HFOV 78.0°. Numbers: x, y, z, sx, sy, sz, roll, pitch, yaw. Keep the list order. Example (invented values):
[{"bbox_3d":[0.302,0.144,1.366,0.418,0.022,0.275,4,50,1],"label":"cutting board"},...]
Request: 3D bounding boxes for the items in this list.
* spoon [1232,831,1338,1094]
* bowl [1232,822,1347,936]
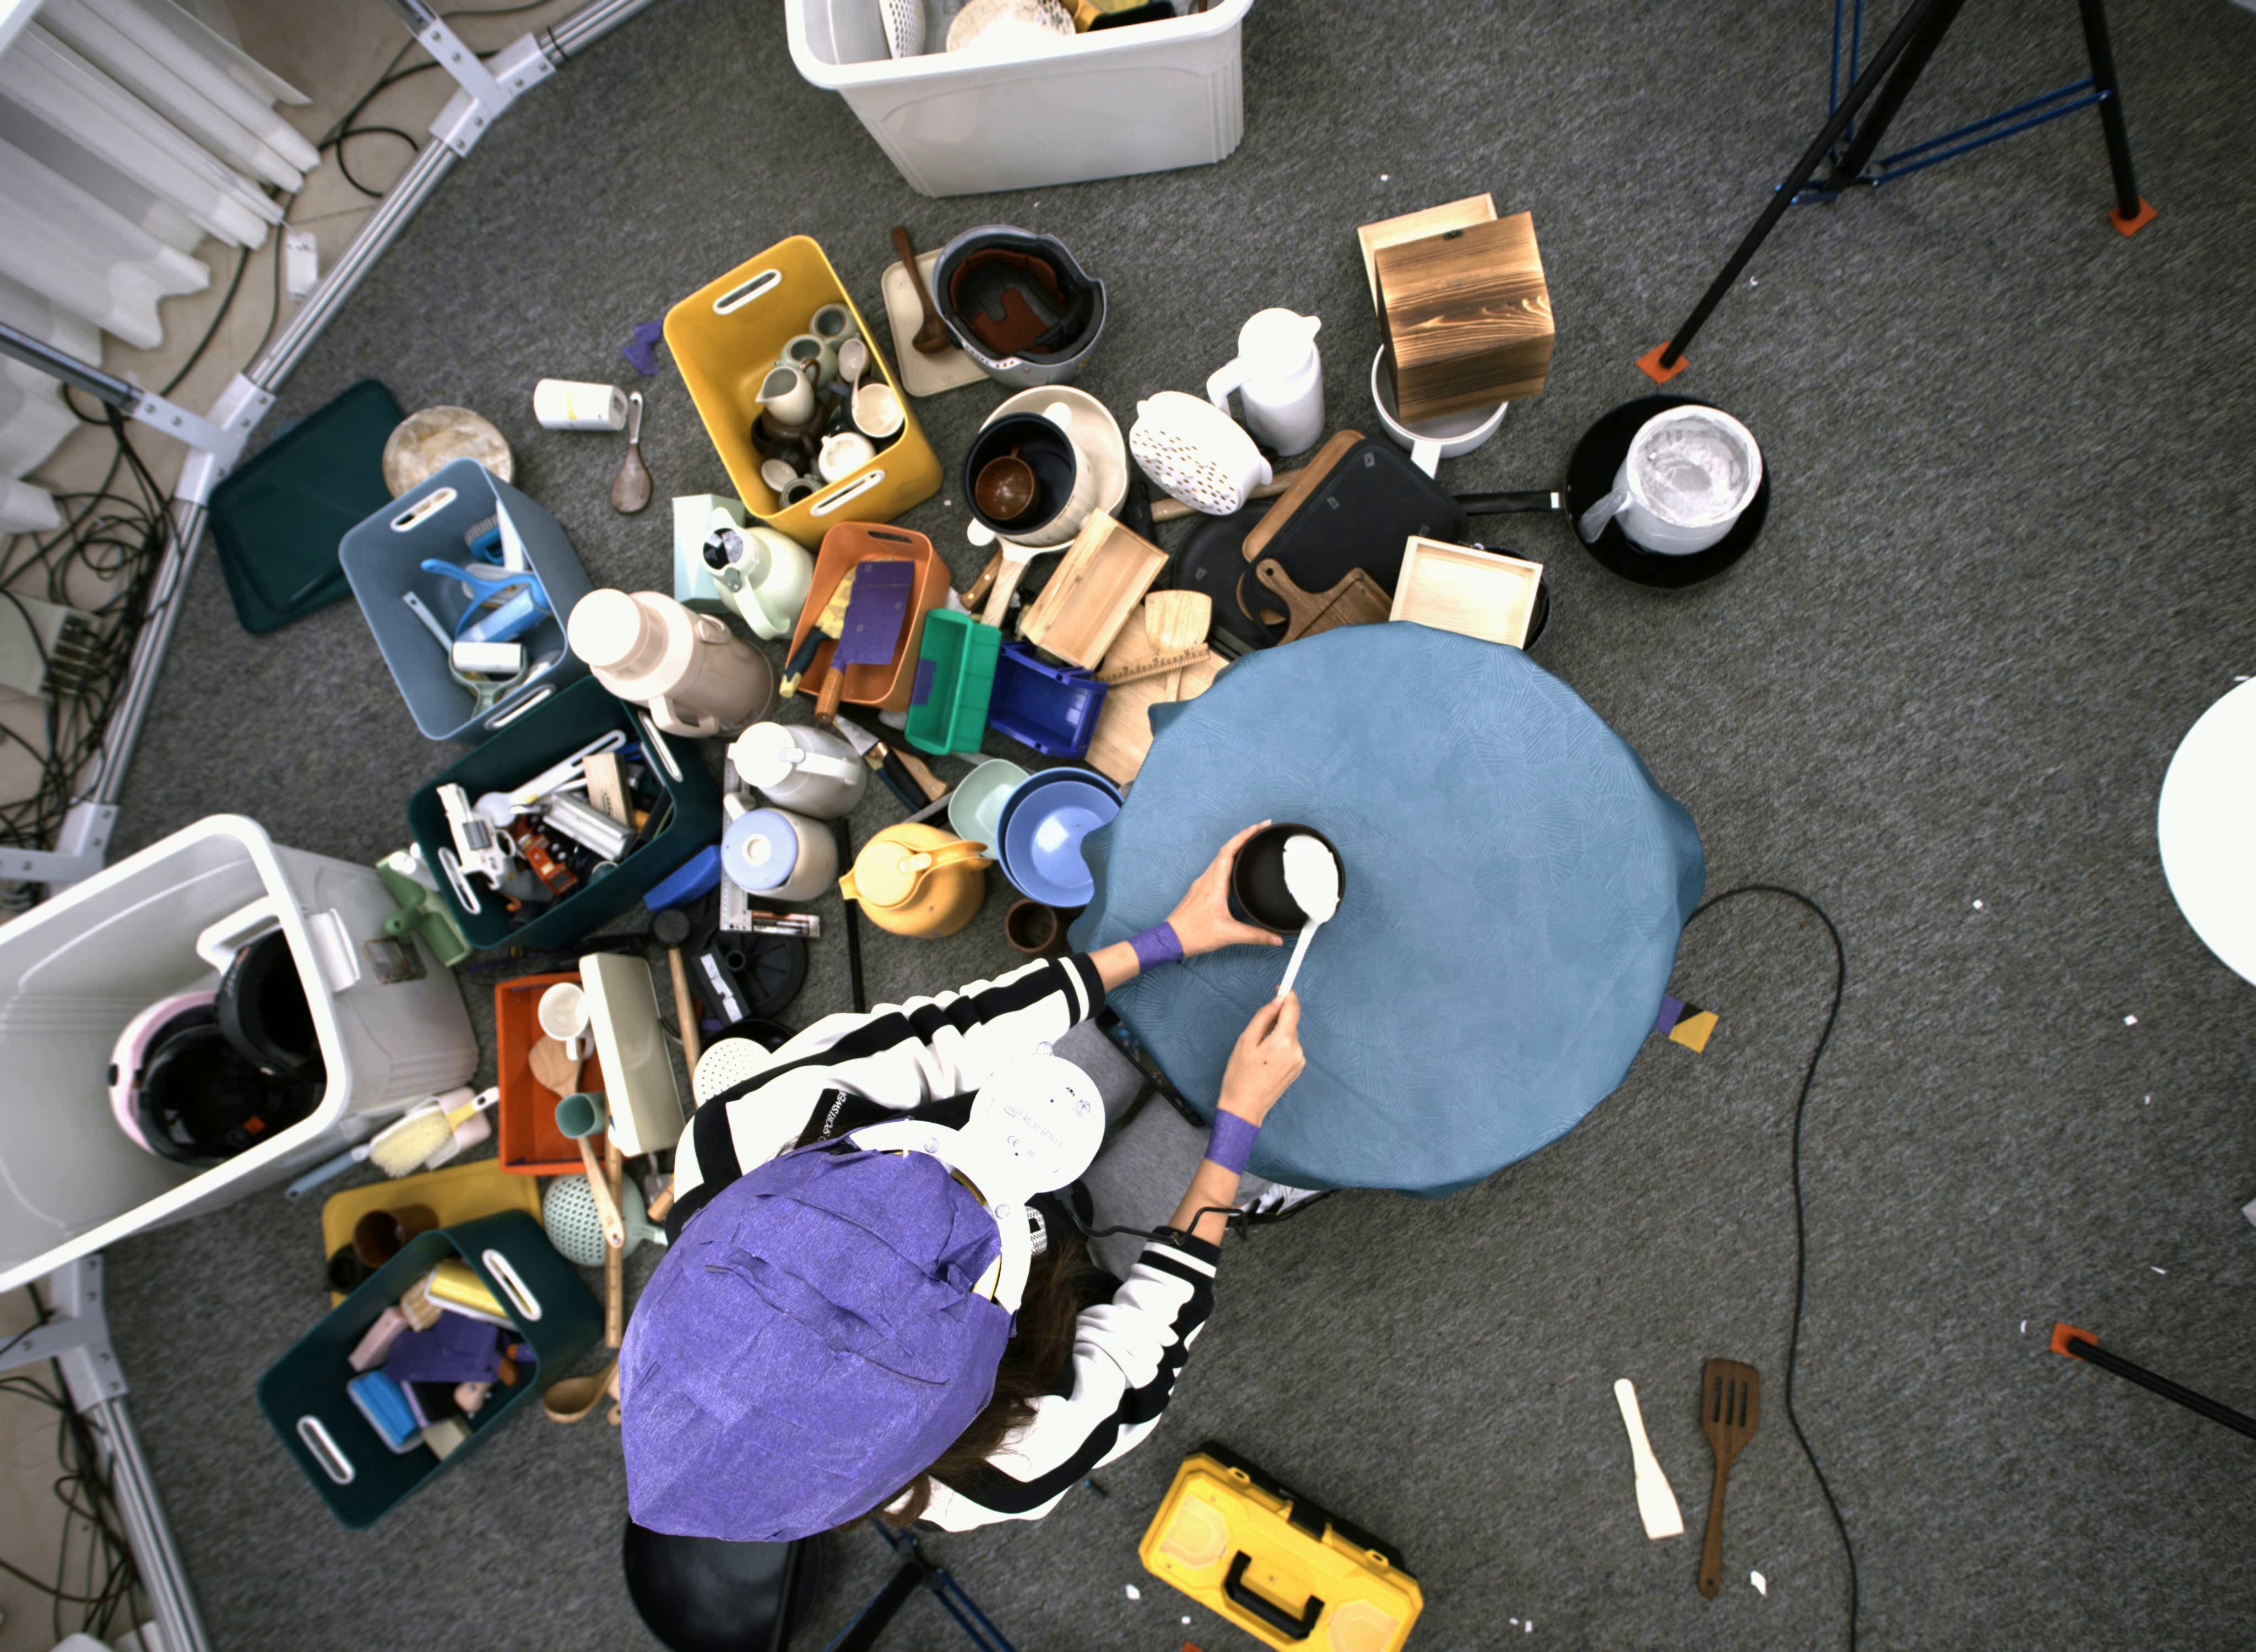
[{"bbox_3d":[0.142,0.139,1.401,0.059,0.099,0.279,19,100,-24],"label":"spoon"},{"bbox_3d":[0.168,0.056,1.442,0.118,0.070,0.117,-1,87,10],"label":"bowl"}]
